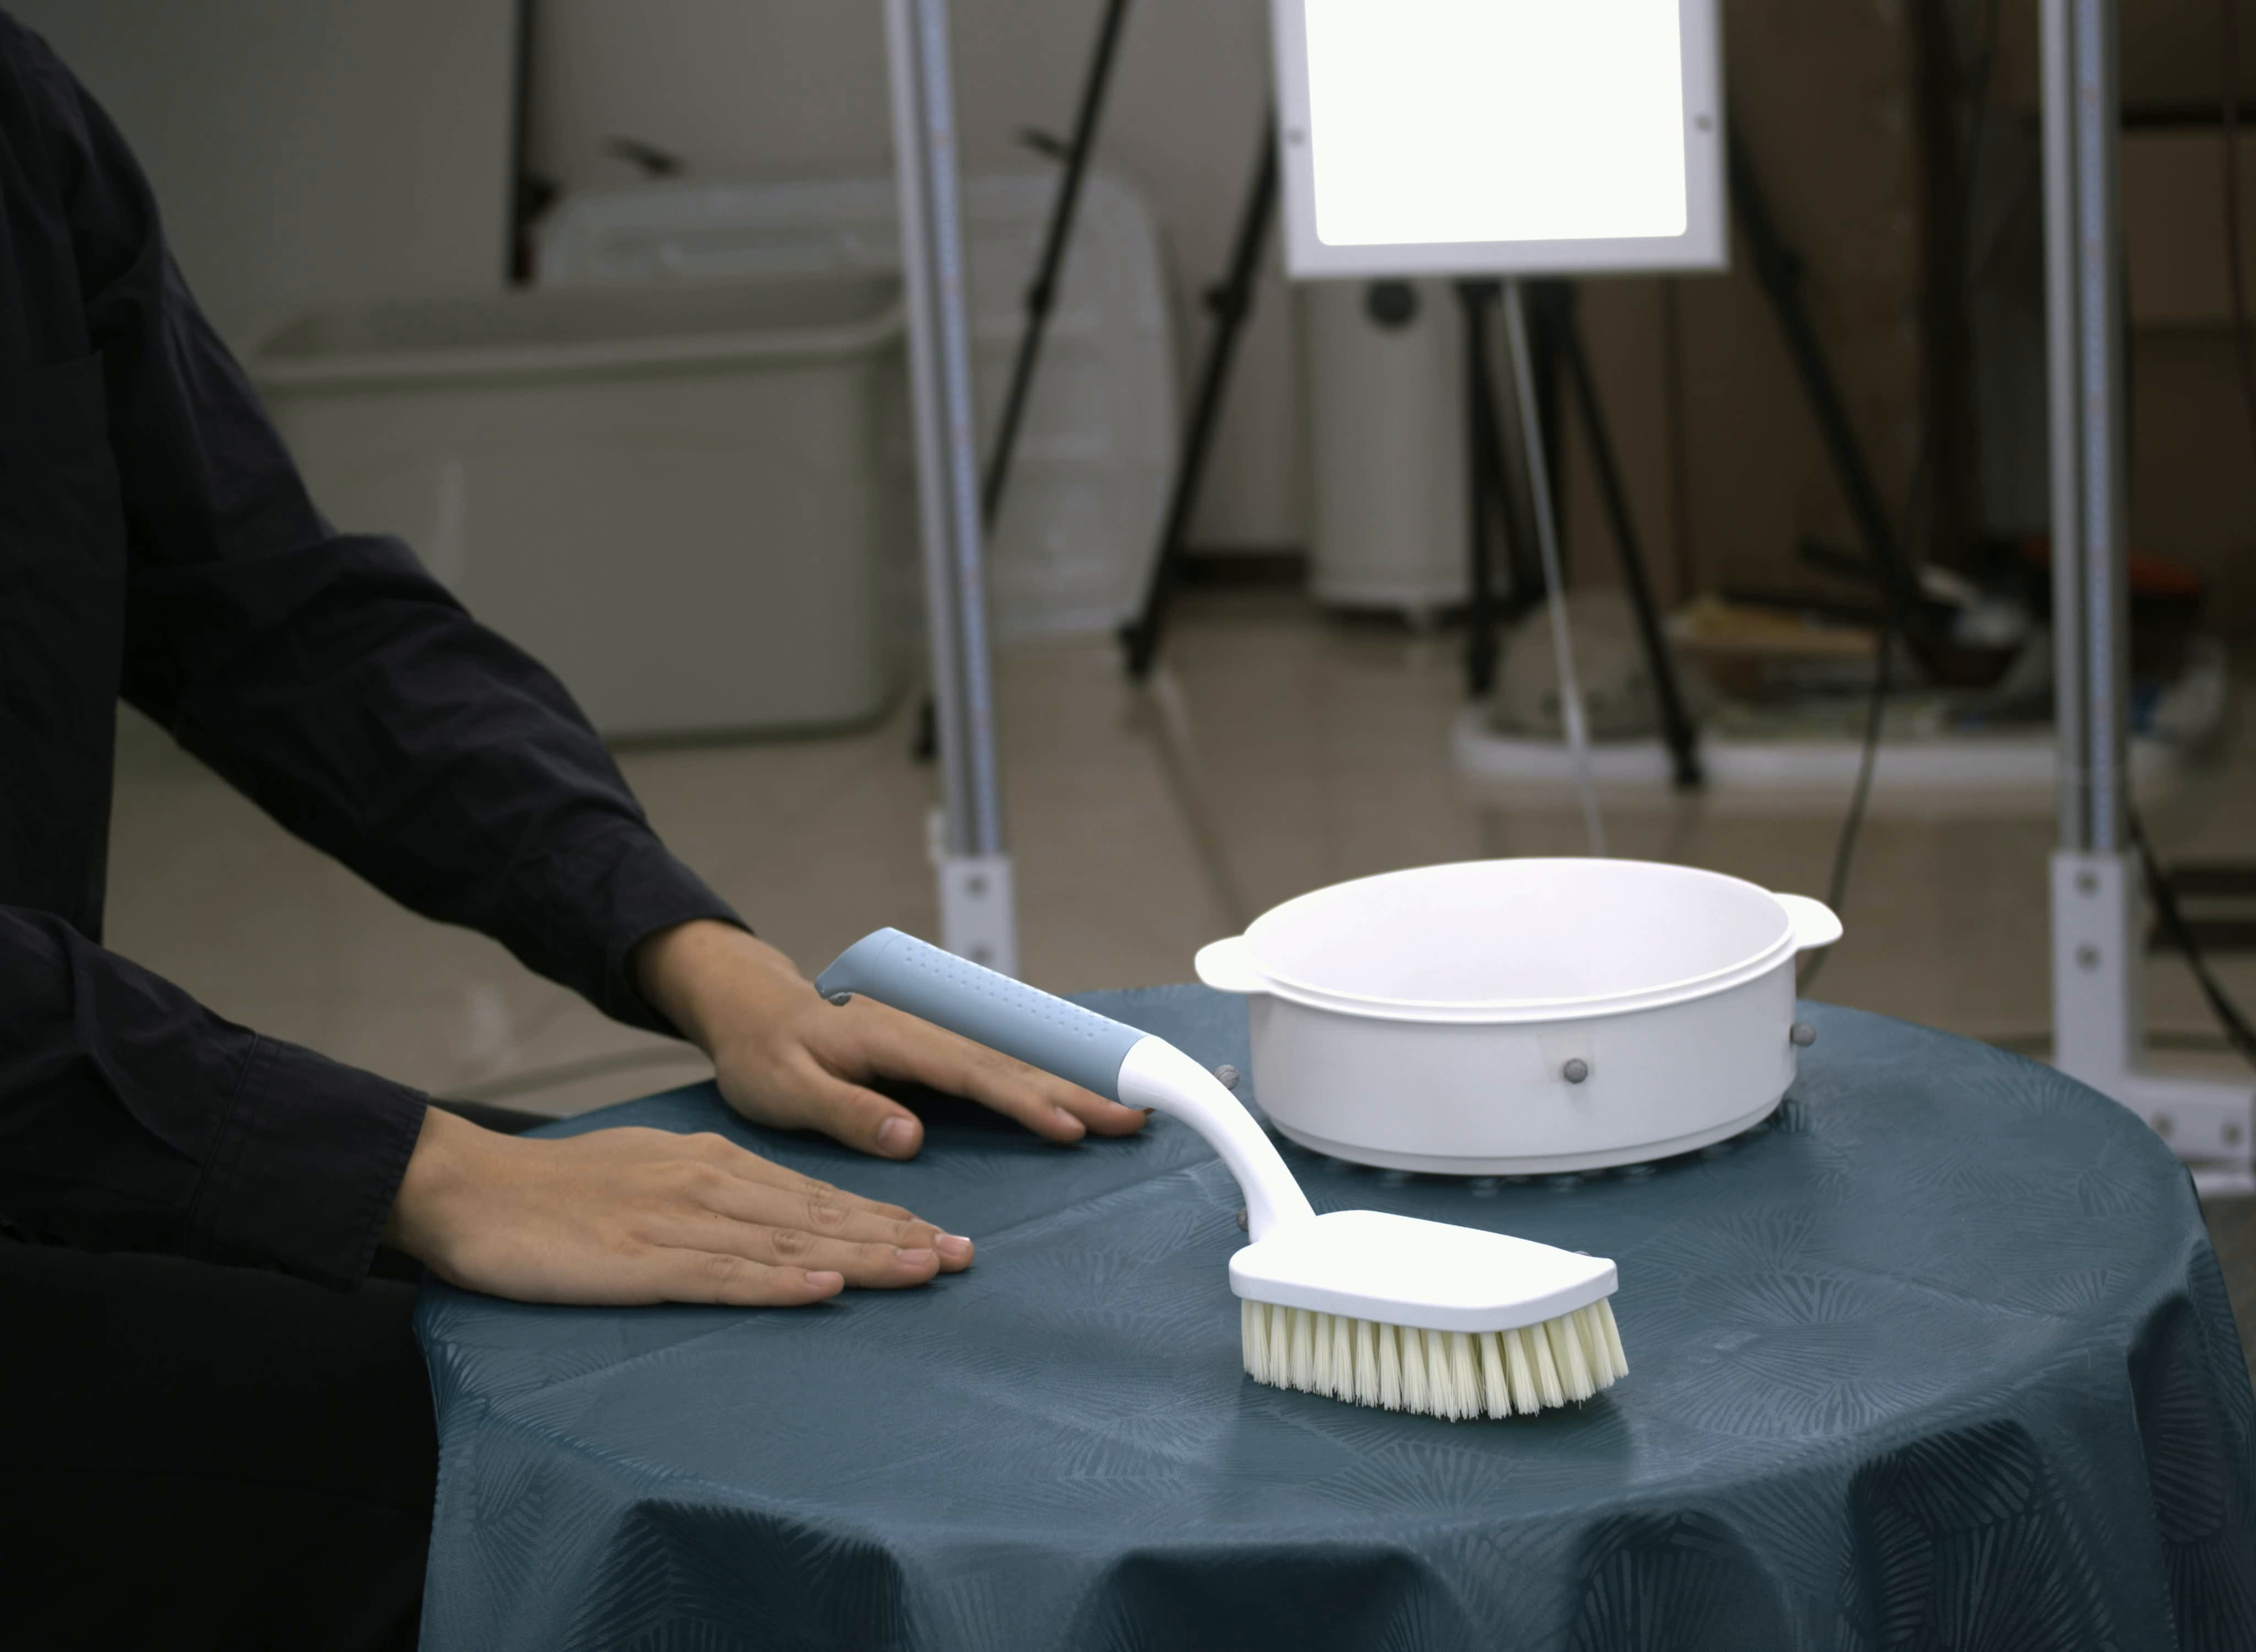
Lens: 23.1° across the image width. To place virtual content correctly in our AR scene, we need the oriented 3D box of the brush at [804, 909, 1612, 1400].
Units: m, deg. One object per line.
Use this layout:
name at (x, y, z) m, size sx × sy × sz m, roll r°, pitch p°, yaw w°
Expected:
brush at (0.019, 0.117, 1.749) m, size 0.331 × 0.084 × 0.082 m, roll 21°, pitch -10°, yaw 37°

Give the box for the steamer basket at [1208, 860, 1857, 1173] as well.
steamer basket at (0.145, 0.067, 1.945) m, size 0.230 × 0.069 × 0.202 m, roll -6°, pitch 13°, yaw -1°
